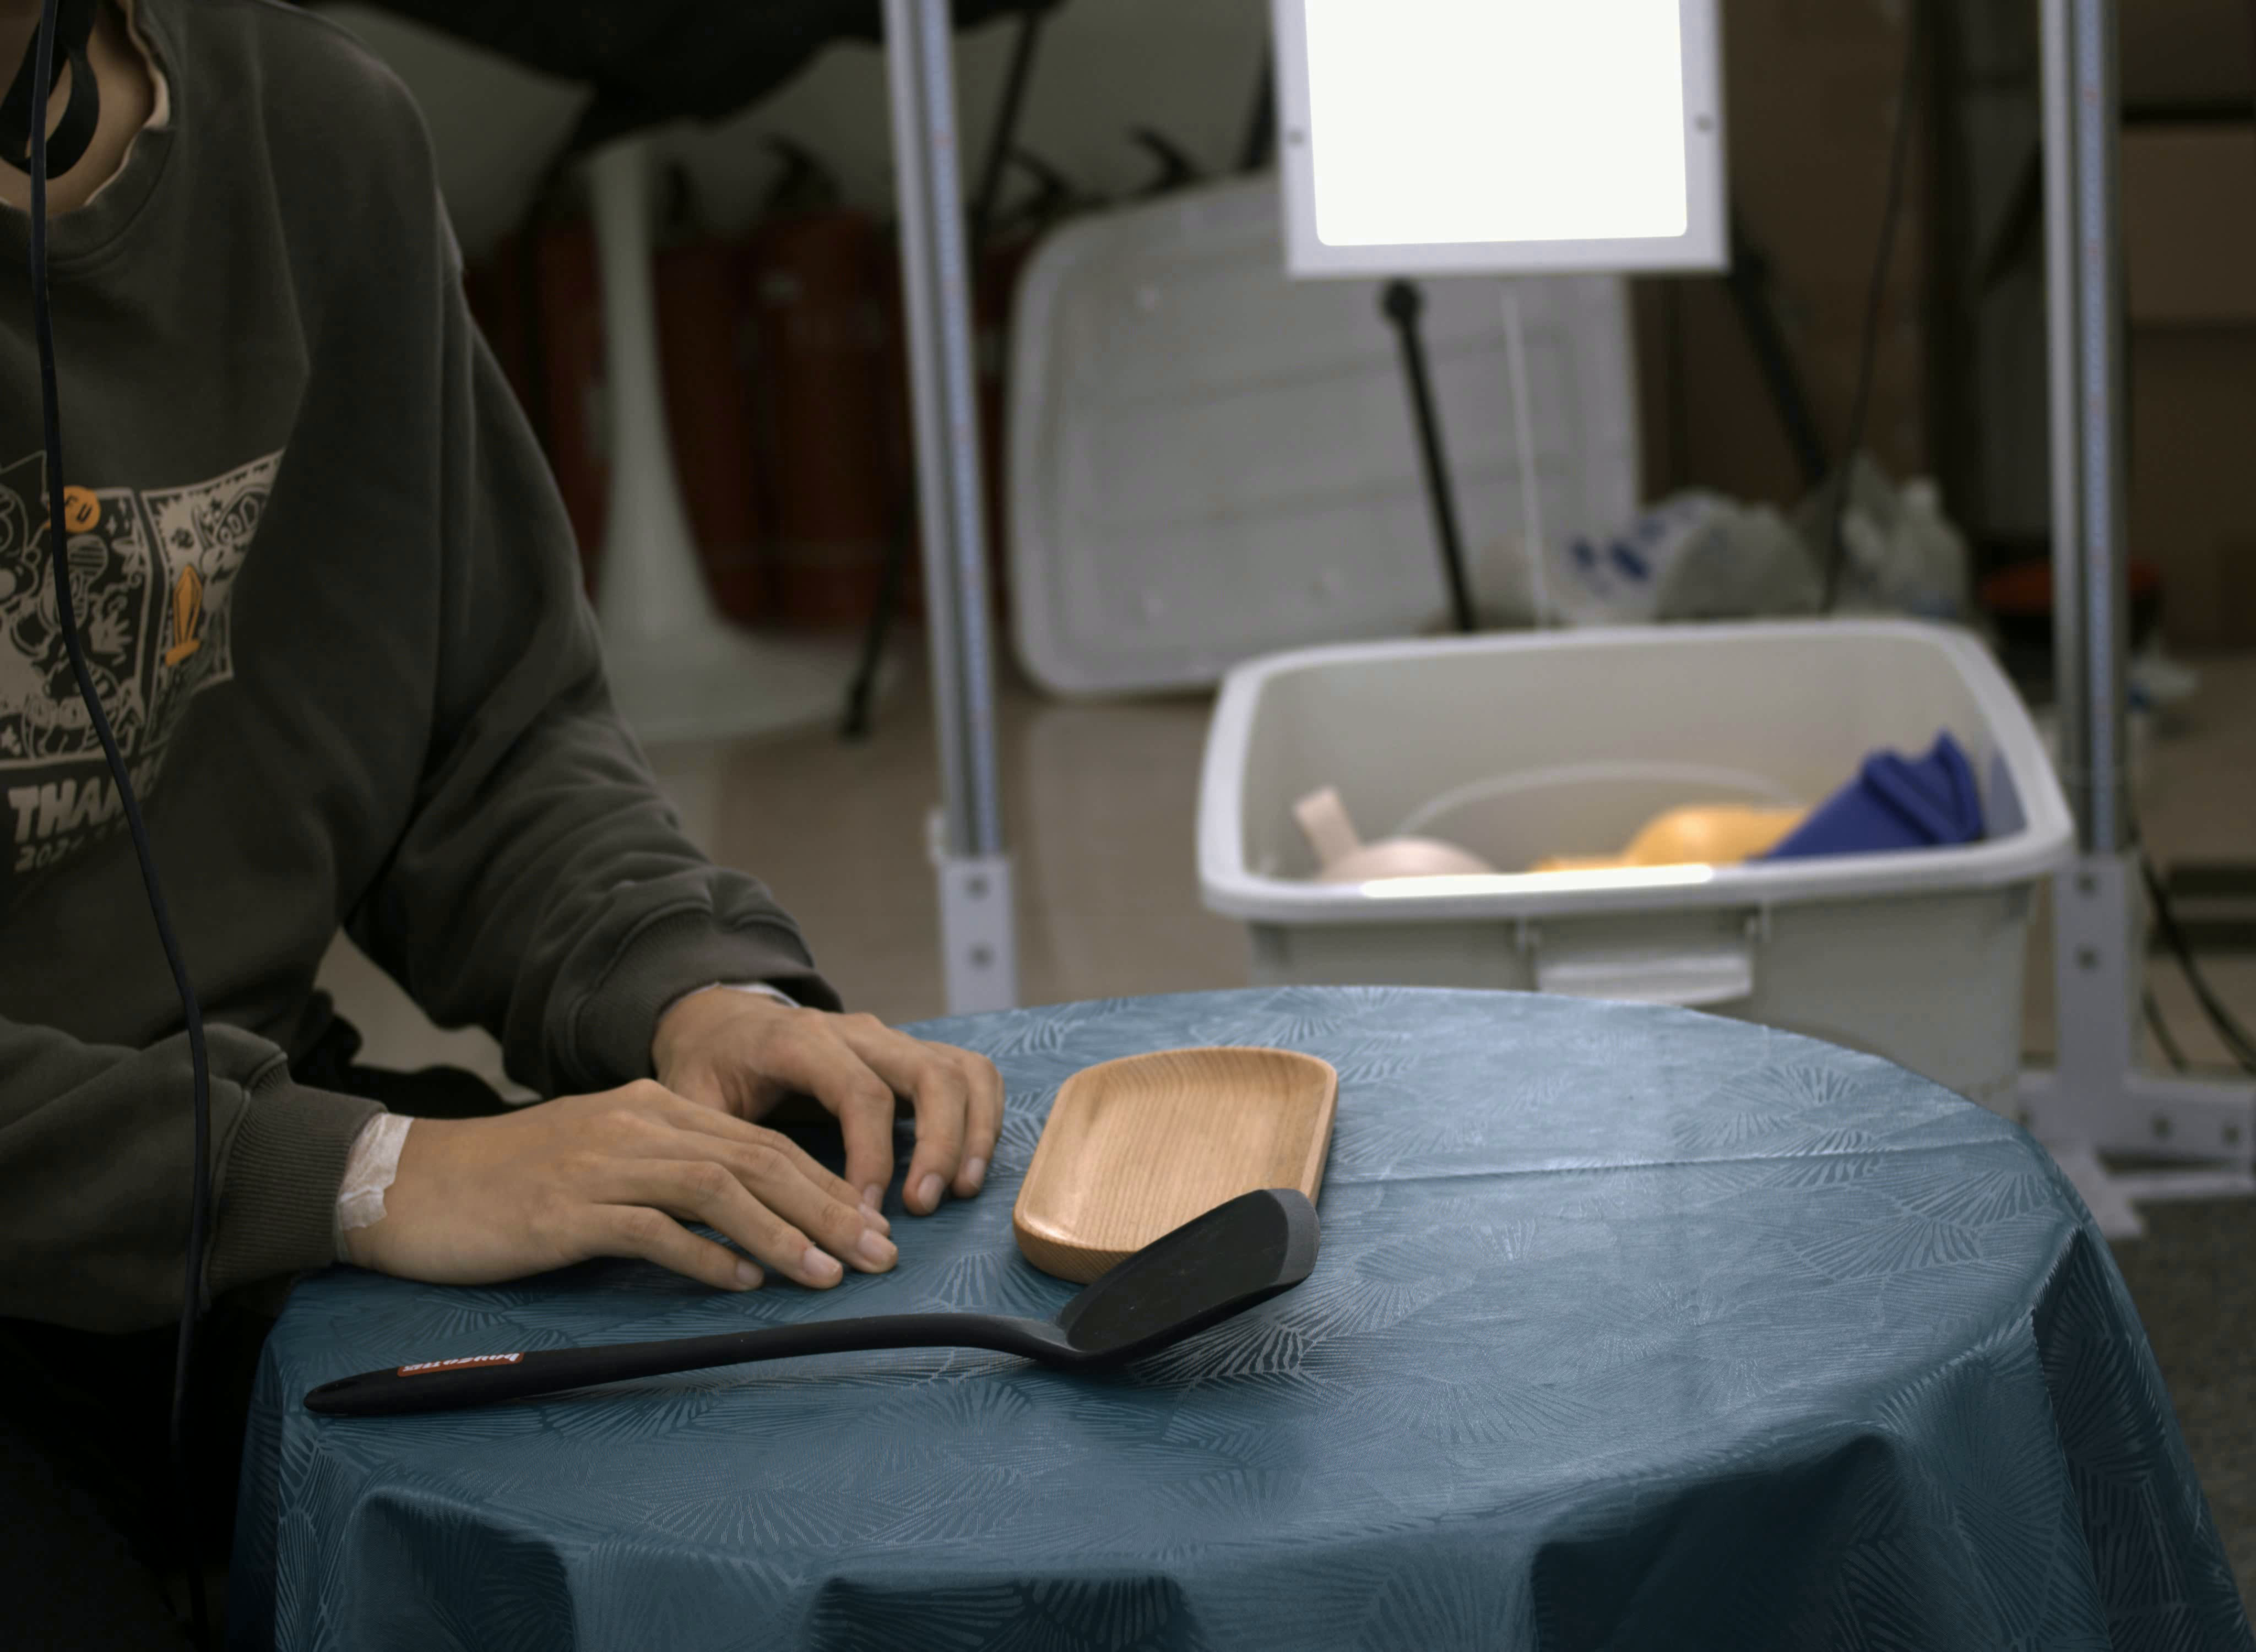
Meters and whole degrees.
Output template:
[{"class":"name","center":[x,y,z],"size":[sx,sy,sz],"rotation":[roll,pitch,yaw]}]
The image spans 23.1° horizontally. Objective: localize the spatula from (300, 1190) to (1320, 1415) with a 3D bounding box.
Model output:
[{"class":"spatula","center":[-0.100,0.156,1.737],"size":[0.326,0.040,0.099],"rotation":[-4,13,3]}]

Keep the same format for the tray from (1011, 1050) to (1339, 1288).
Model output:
[{"class":"tray","center":[0.019,0.116,1.897],"size":[0.102,0.020,0.229],"rotation":[-4,15,8]}]
